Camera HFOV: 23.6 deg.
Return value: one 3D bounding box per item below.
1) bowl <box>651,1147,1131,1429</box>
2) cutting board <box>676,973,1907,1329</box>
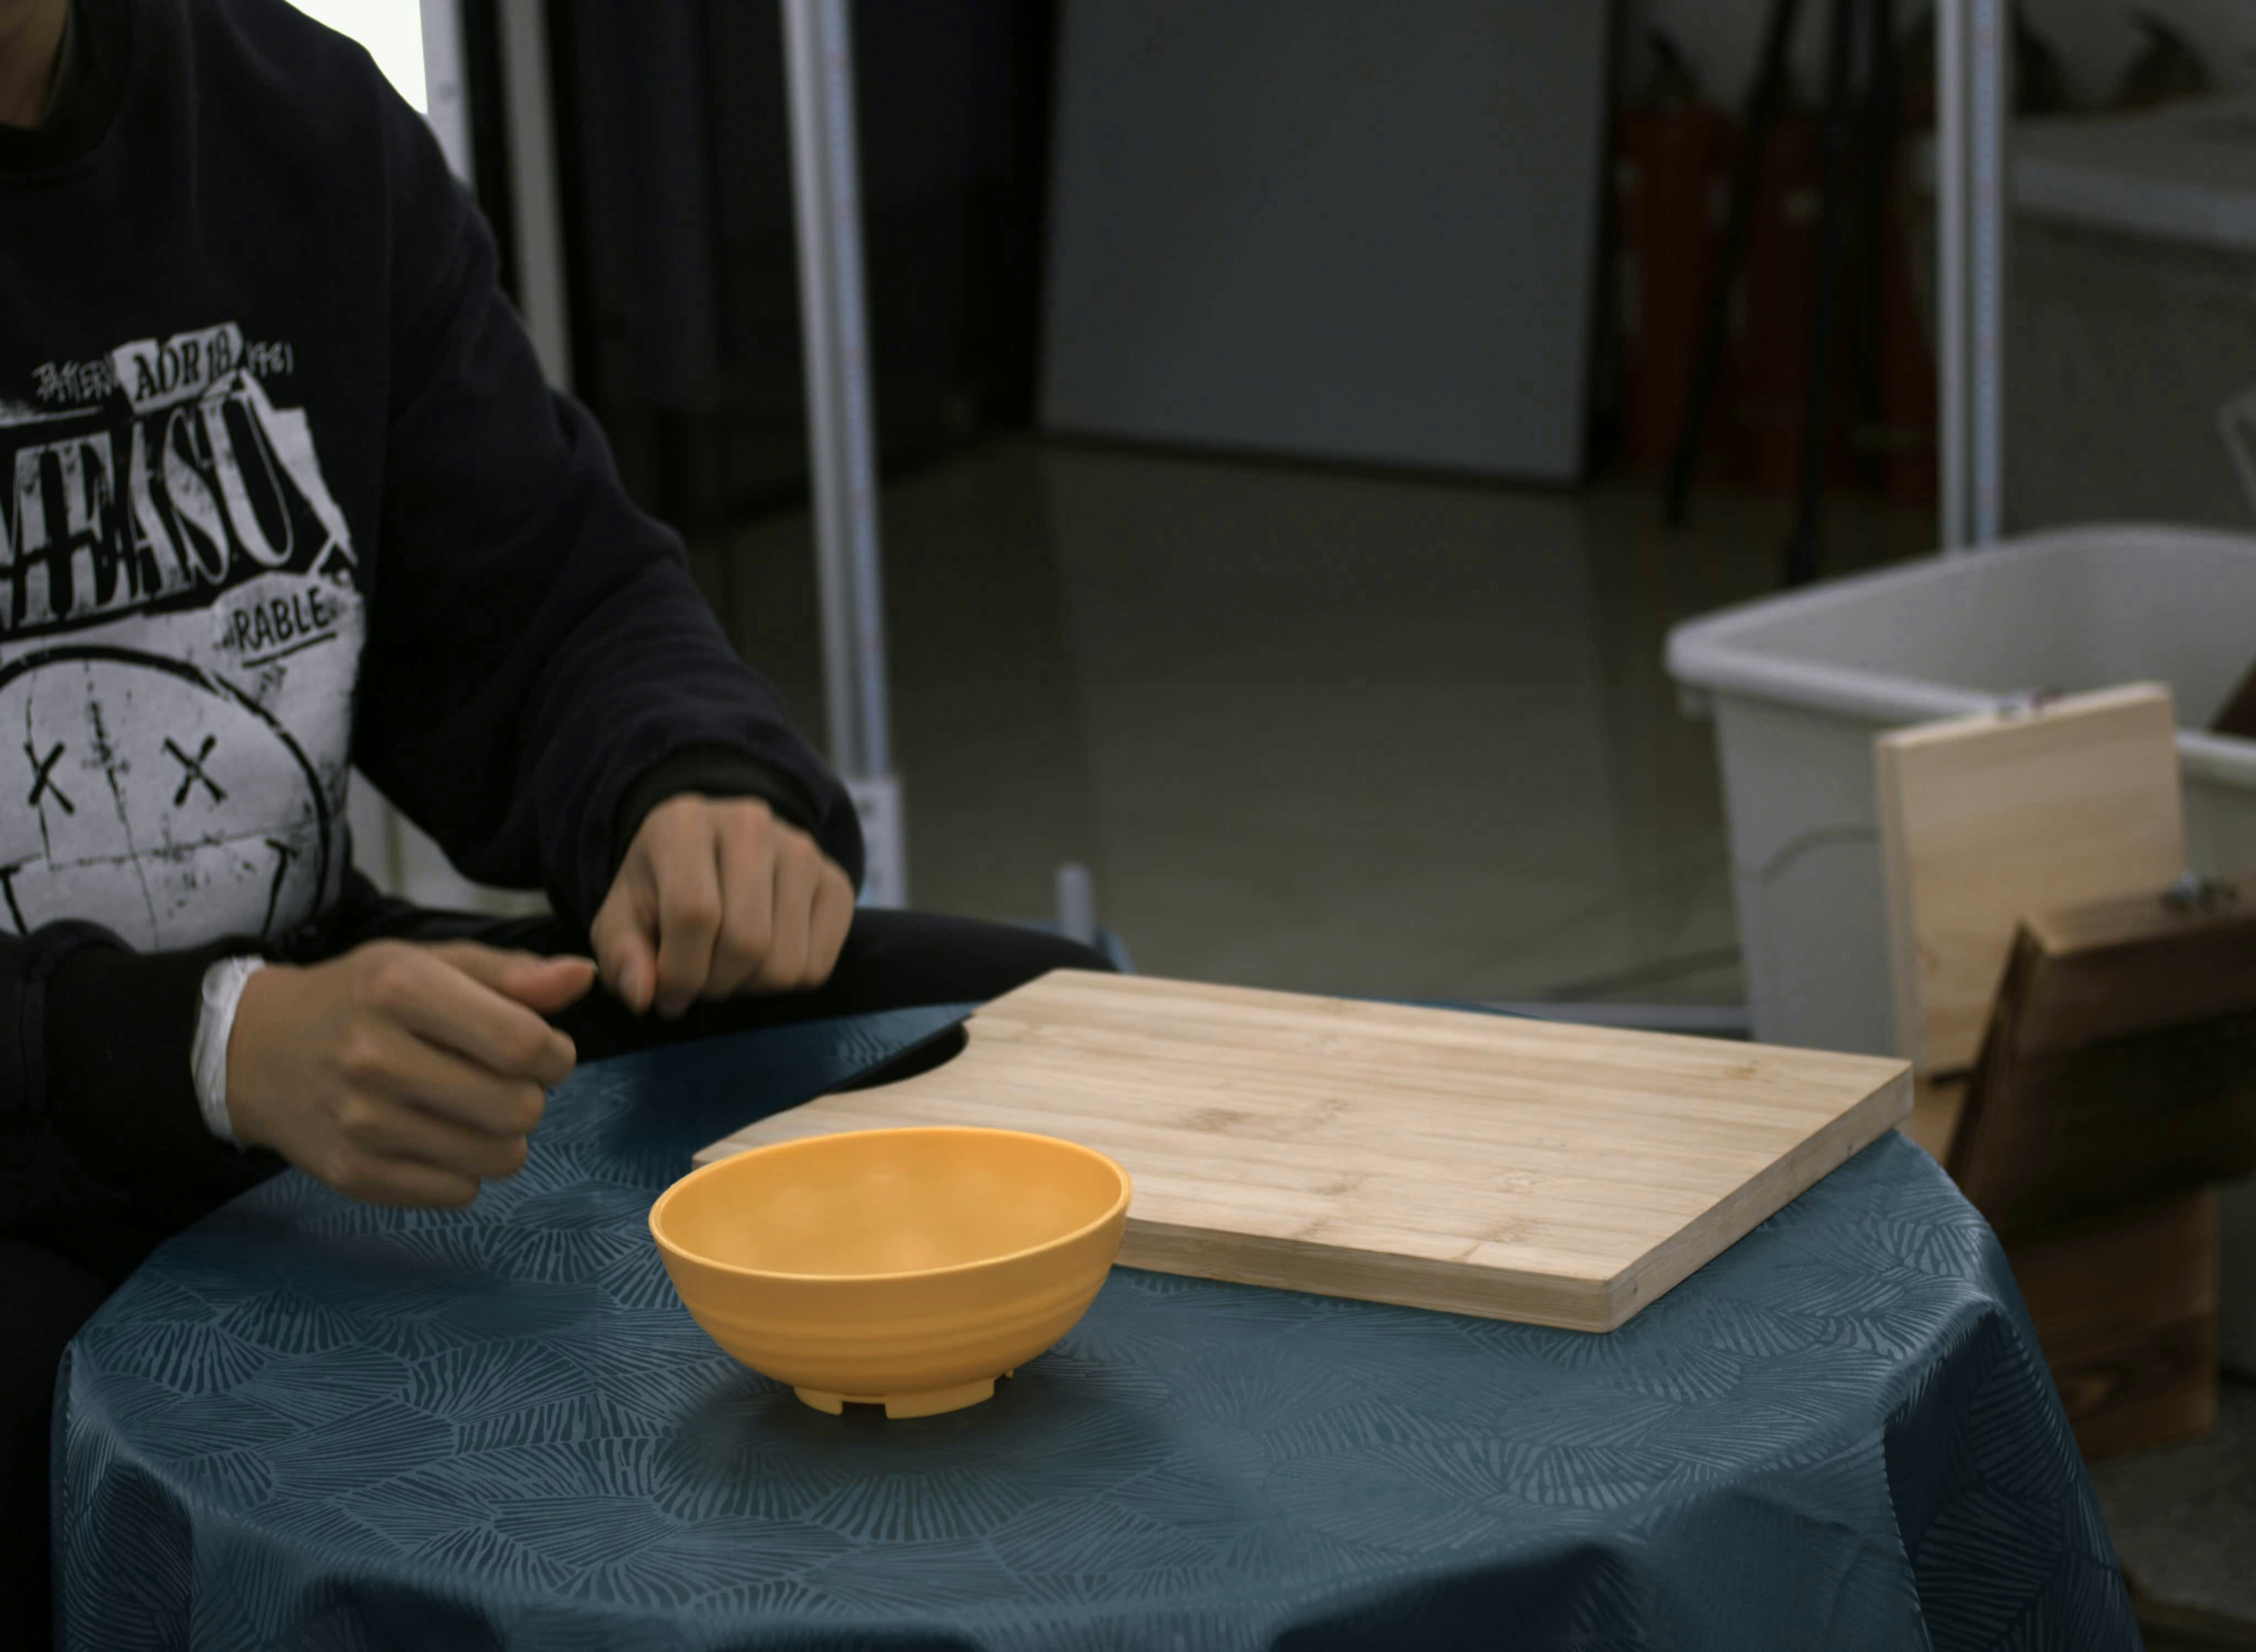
[{"bbox_3d":[-0.068,0.140,1.598,0.143,0.061,0.145,-4,11,0],"label":"bowl"},{"bbox_3d":[0.056,0.103,1.794,0.350,0.024,0.247,4,16,31],"label":"cutting board"}]
